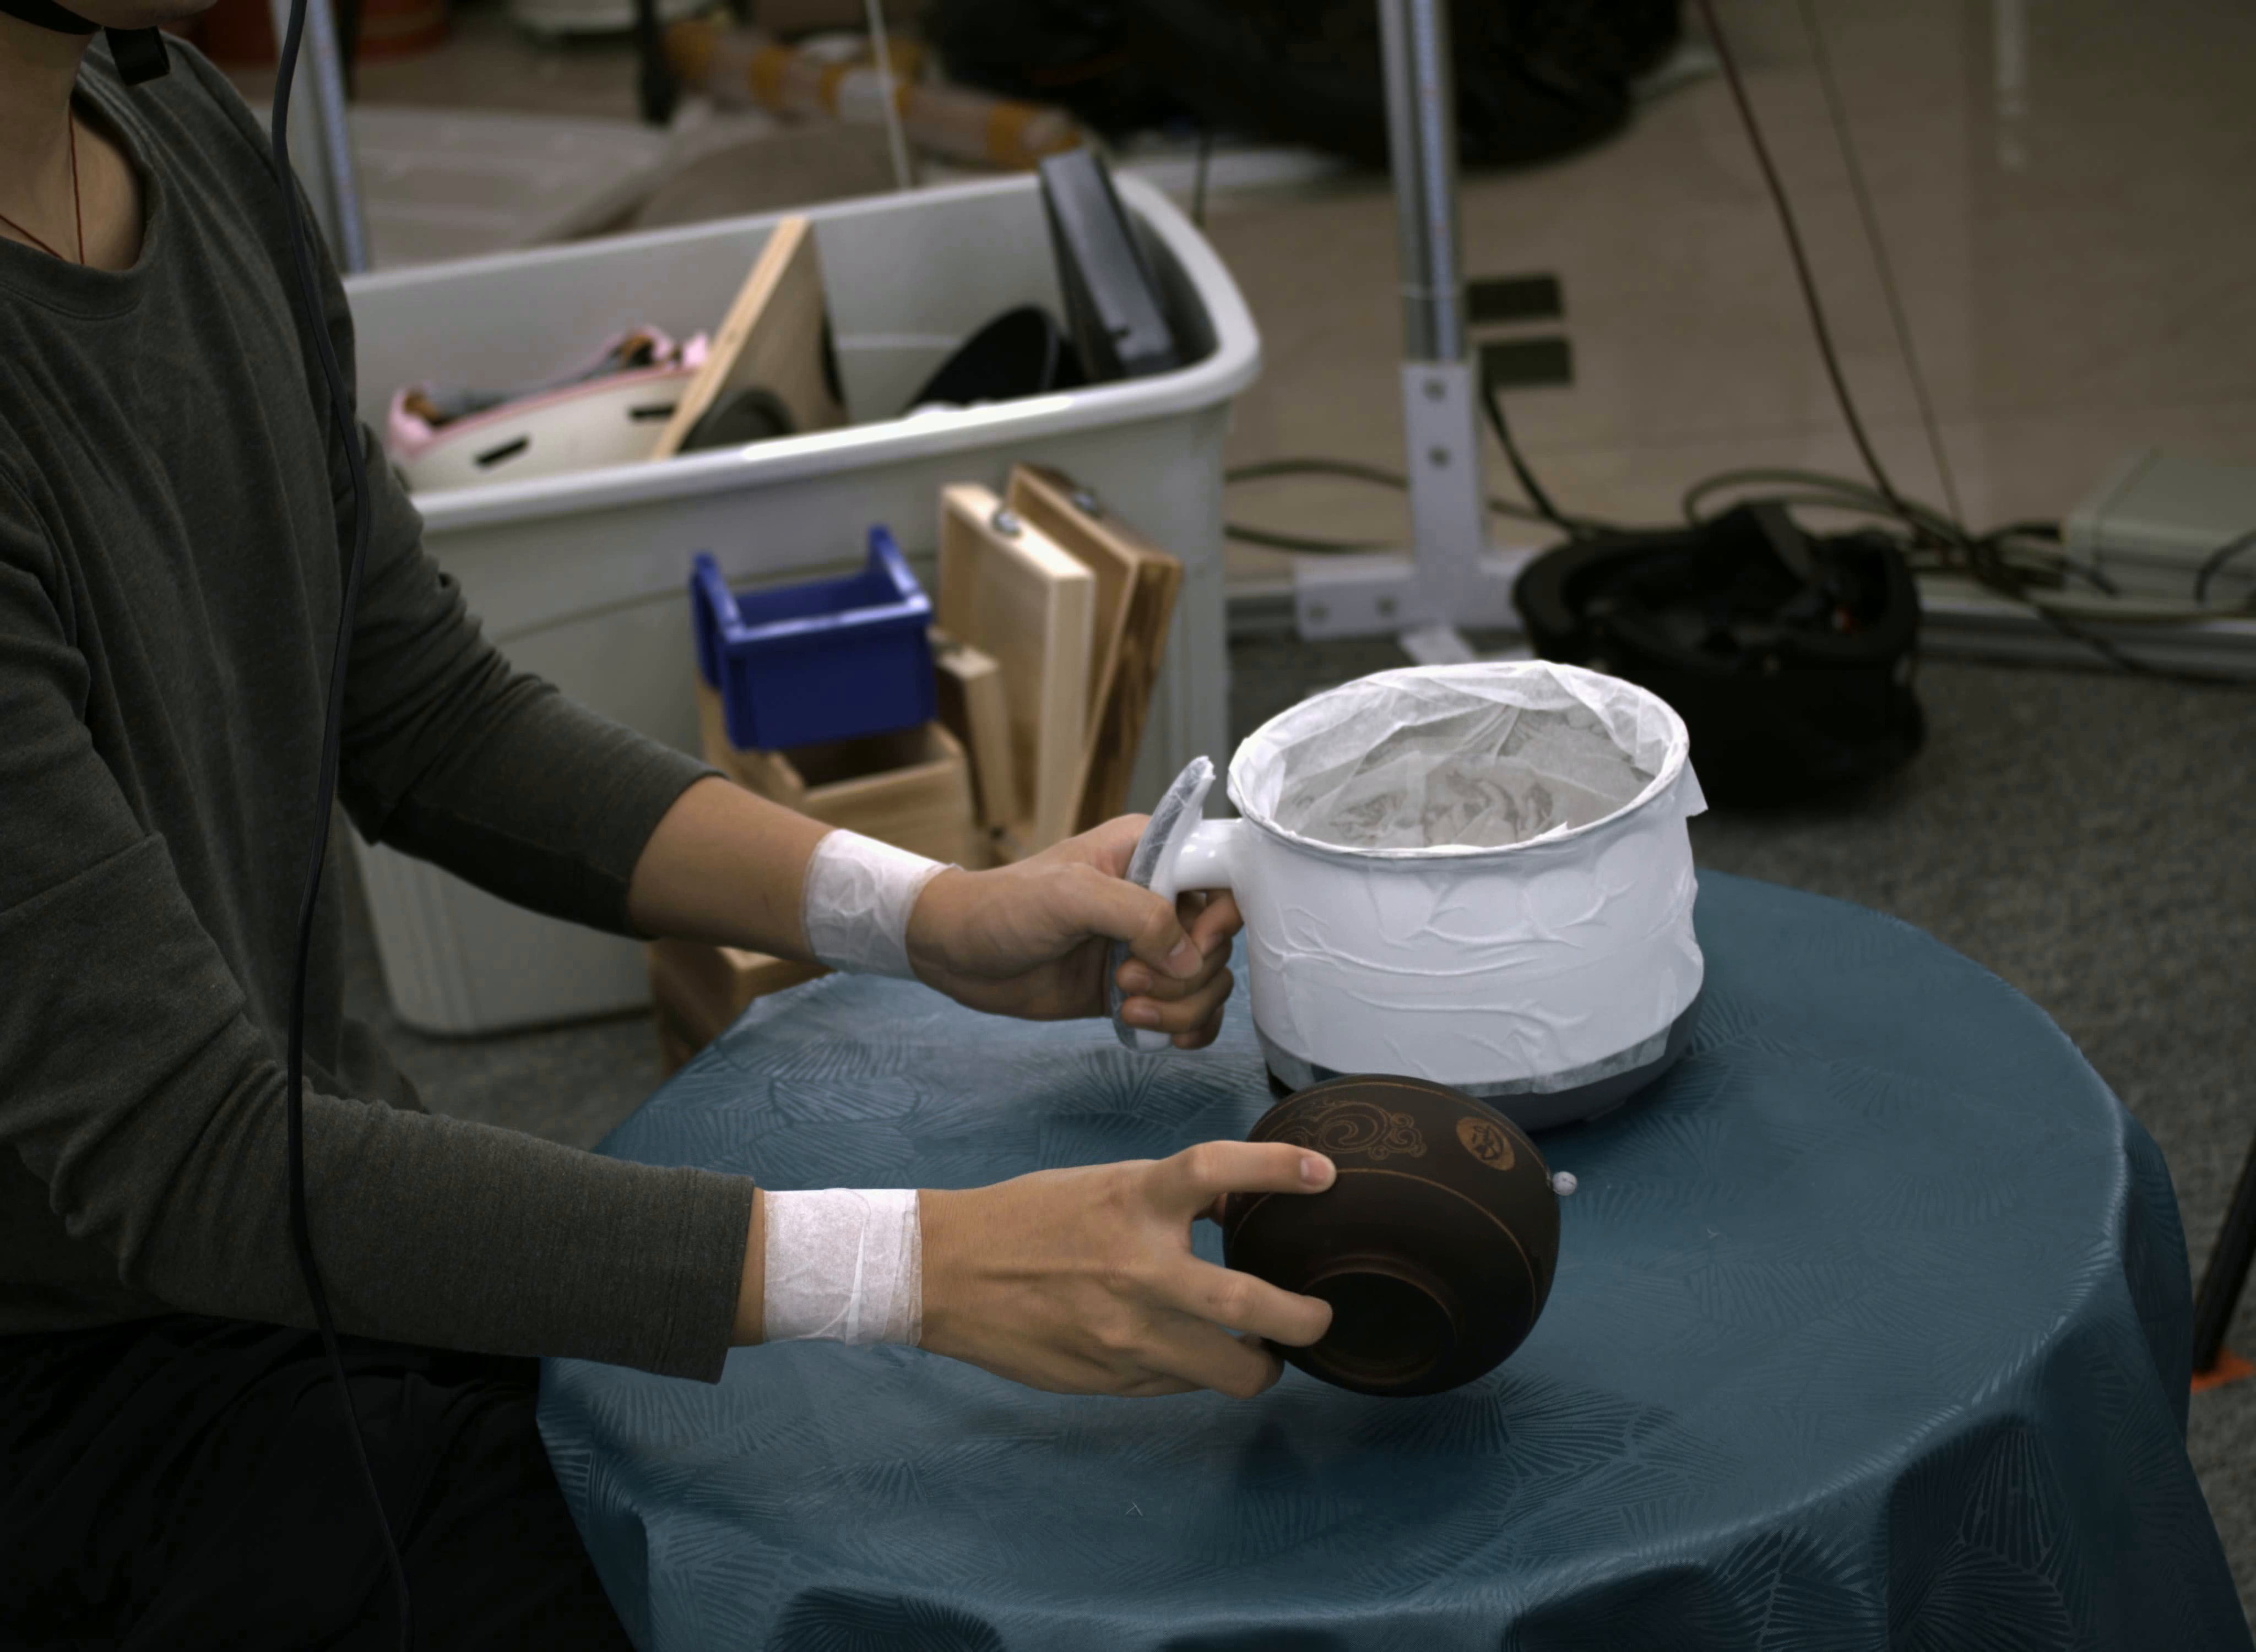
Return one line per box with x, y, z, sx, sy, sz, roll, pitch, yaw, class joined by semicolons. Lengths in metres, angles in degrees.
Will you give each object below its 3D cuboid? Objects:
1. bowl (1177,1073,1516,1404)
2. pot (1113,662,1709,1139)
0.074;0.150;1.948;0.118;0.120;0.068;-3;36;7;bowl
0.106;0.033;2.192;0.233;0.139;0.176;-4;25;7;pot
